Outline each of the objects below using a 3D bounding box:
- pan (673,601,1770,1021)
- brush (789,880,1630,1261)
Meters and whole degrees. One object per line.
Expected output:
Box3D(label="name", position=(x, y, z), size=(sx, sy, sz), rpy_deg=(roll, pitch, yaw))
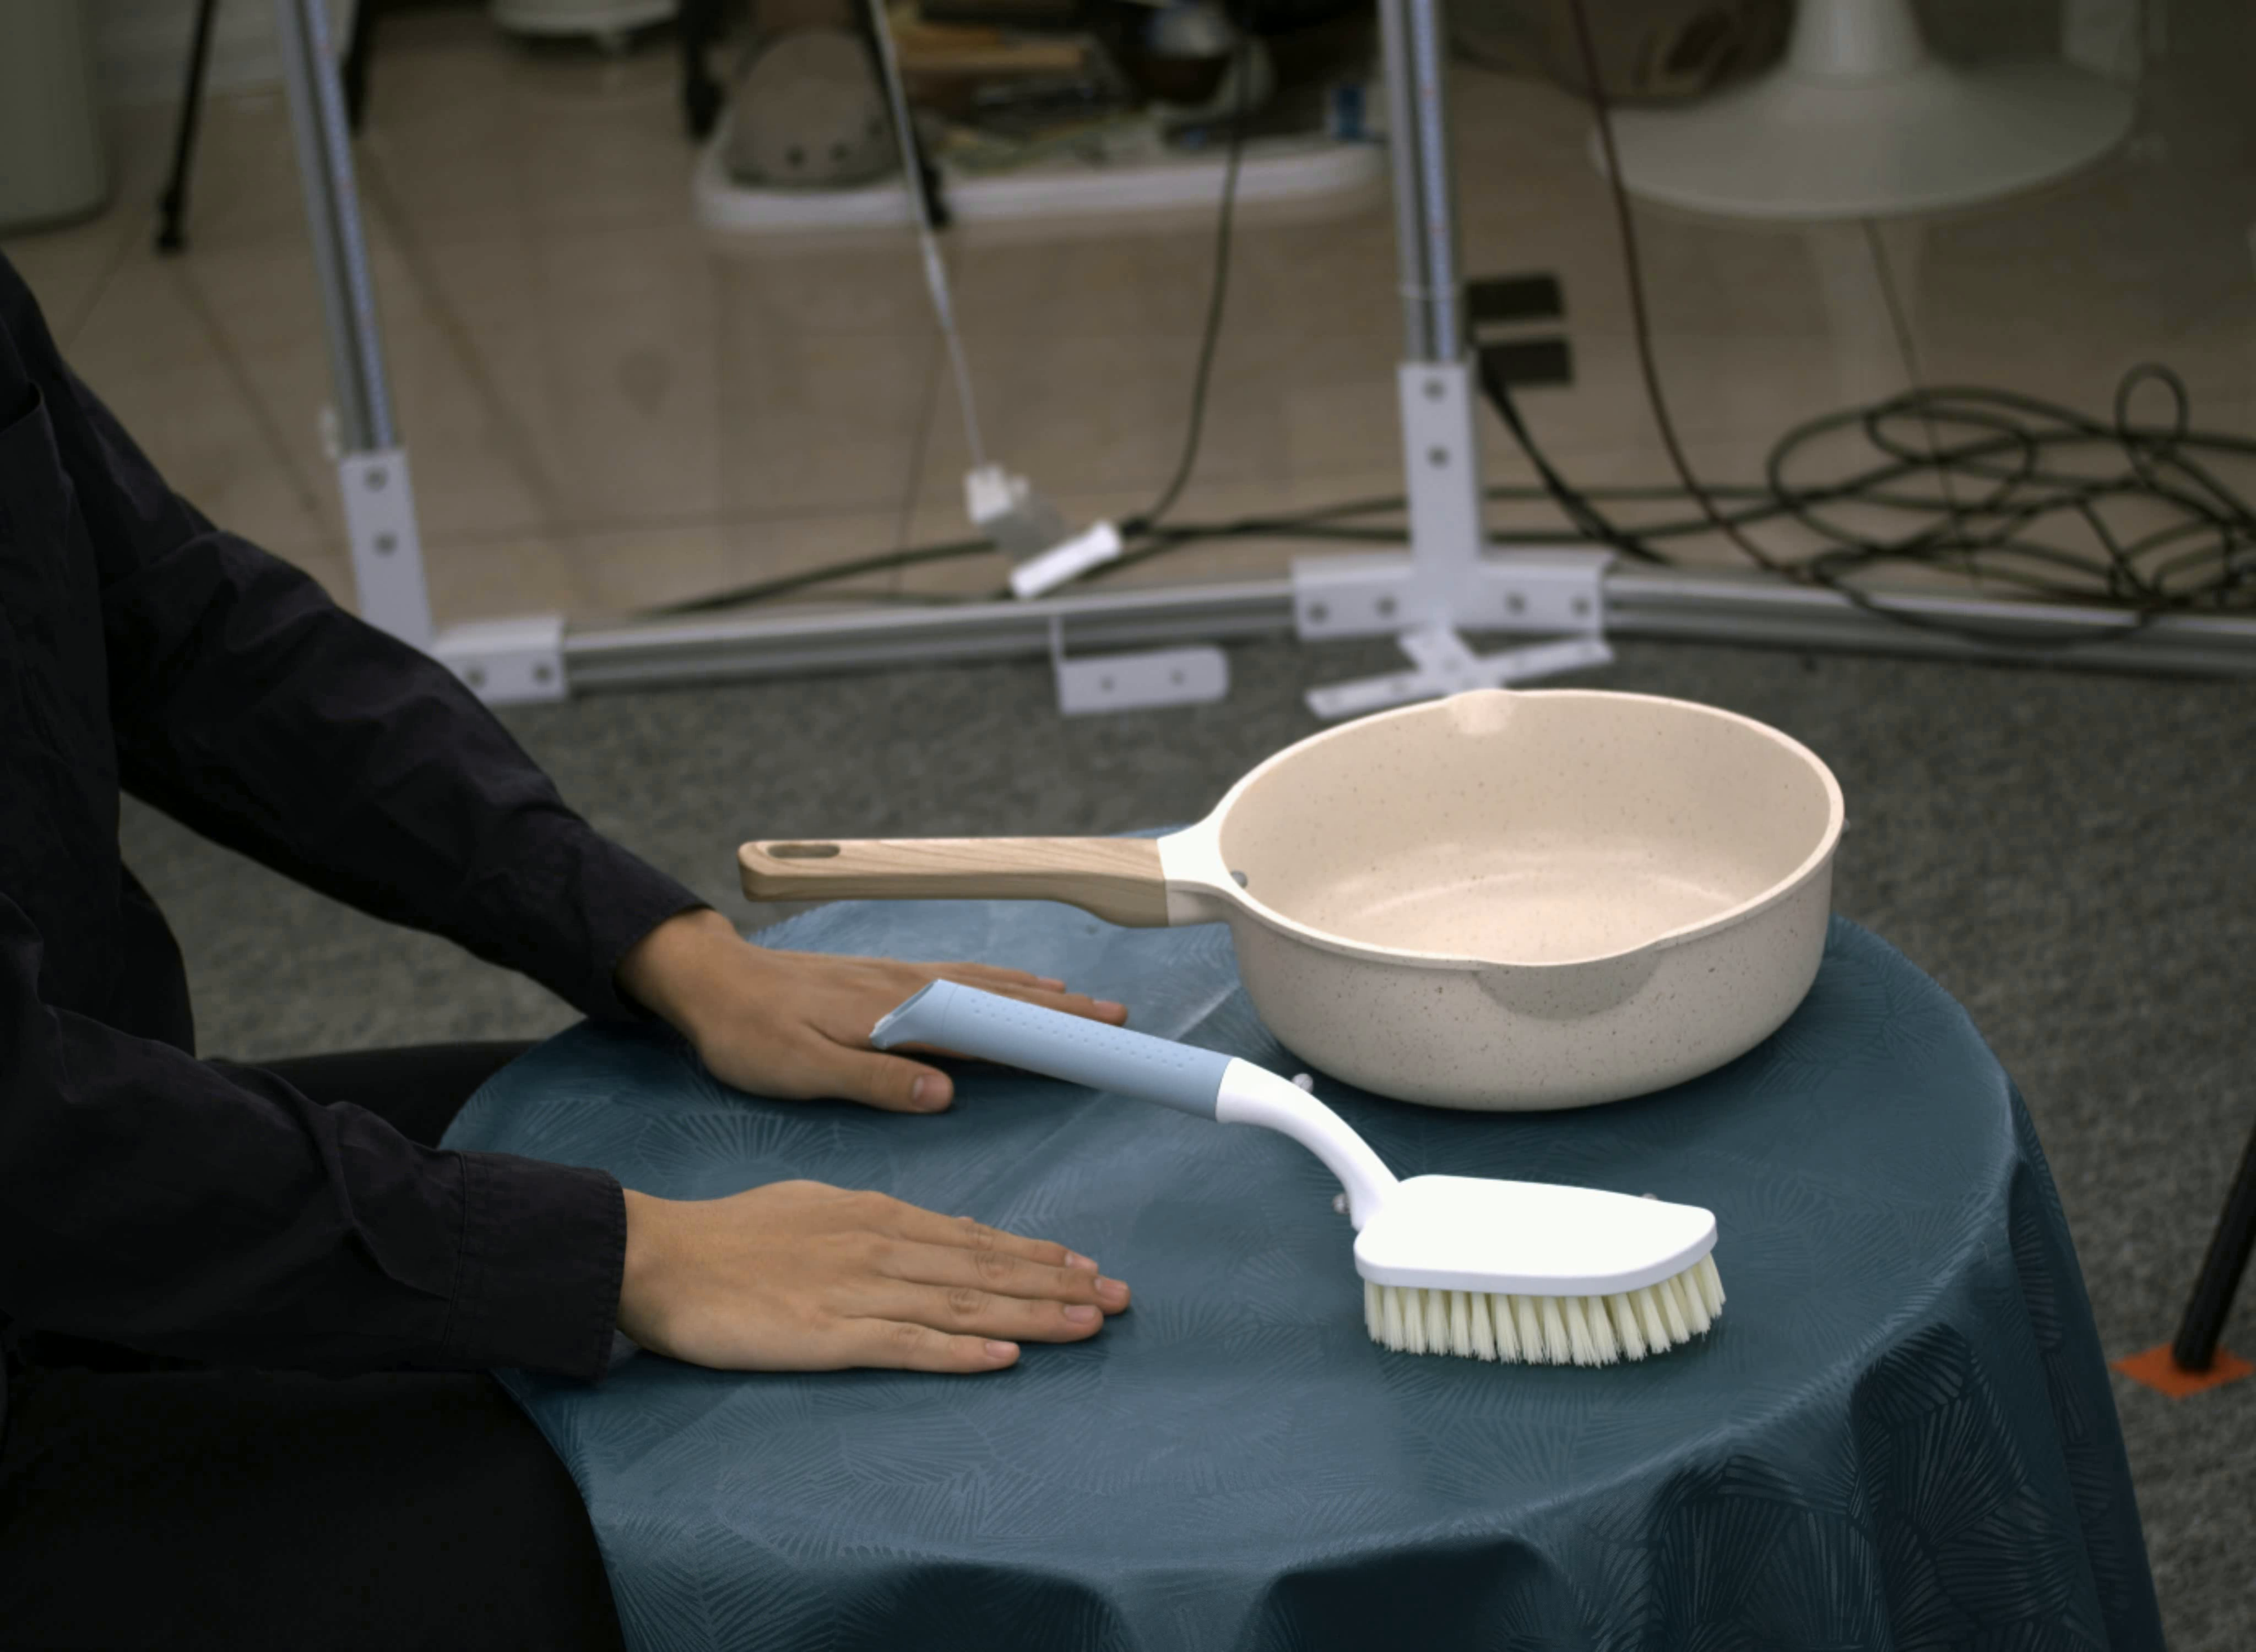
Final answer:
Box3D(label="pan", position=(0.041, 0.002, 2.258), size=(0.434, 0.103, 0.259), rpy_deg=(-7, 26, -2))
Box3D(label="brush", position=(0.026, 0.100, 2.073), size=(0.324, 0.084, 0.083), rpy_deg=(15, -6, 14))
